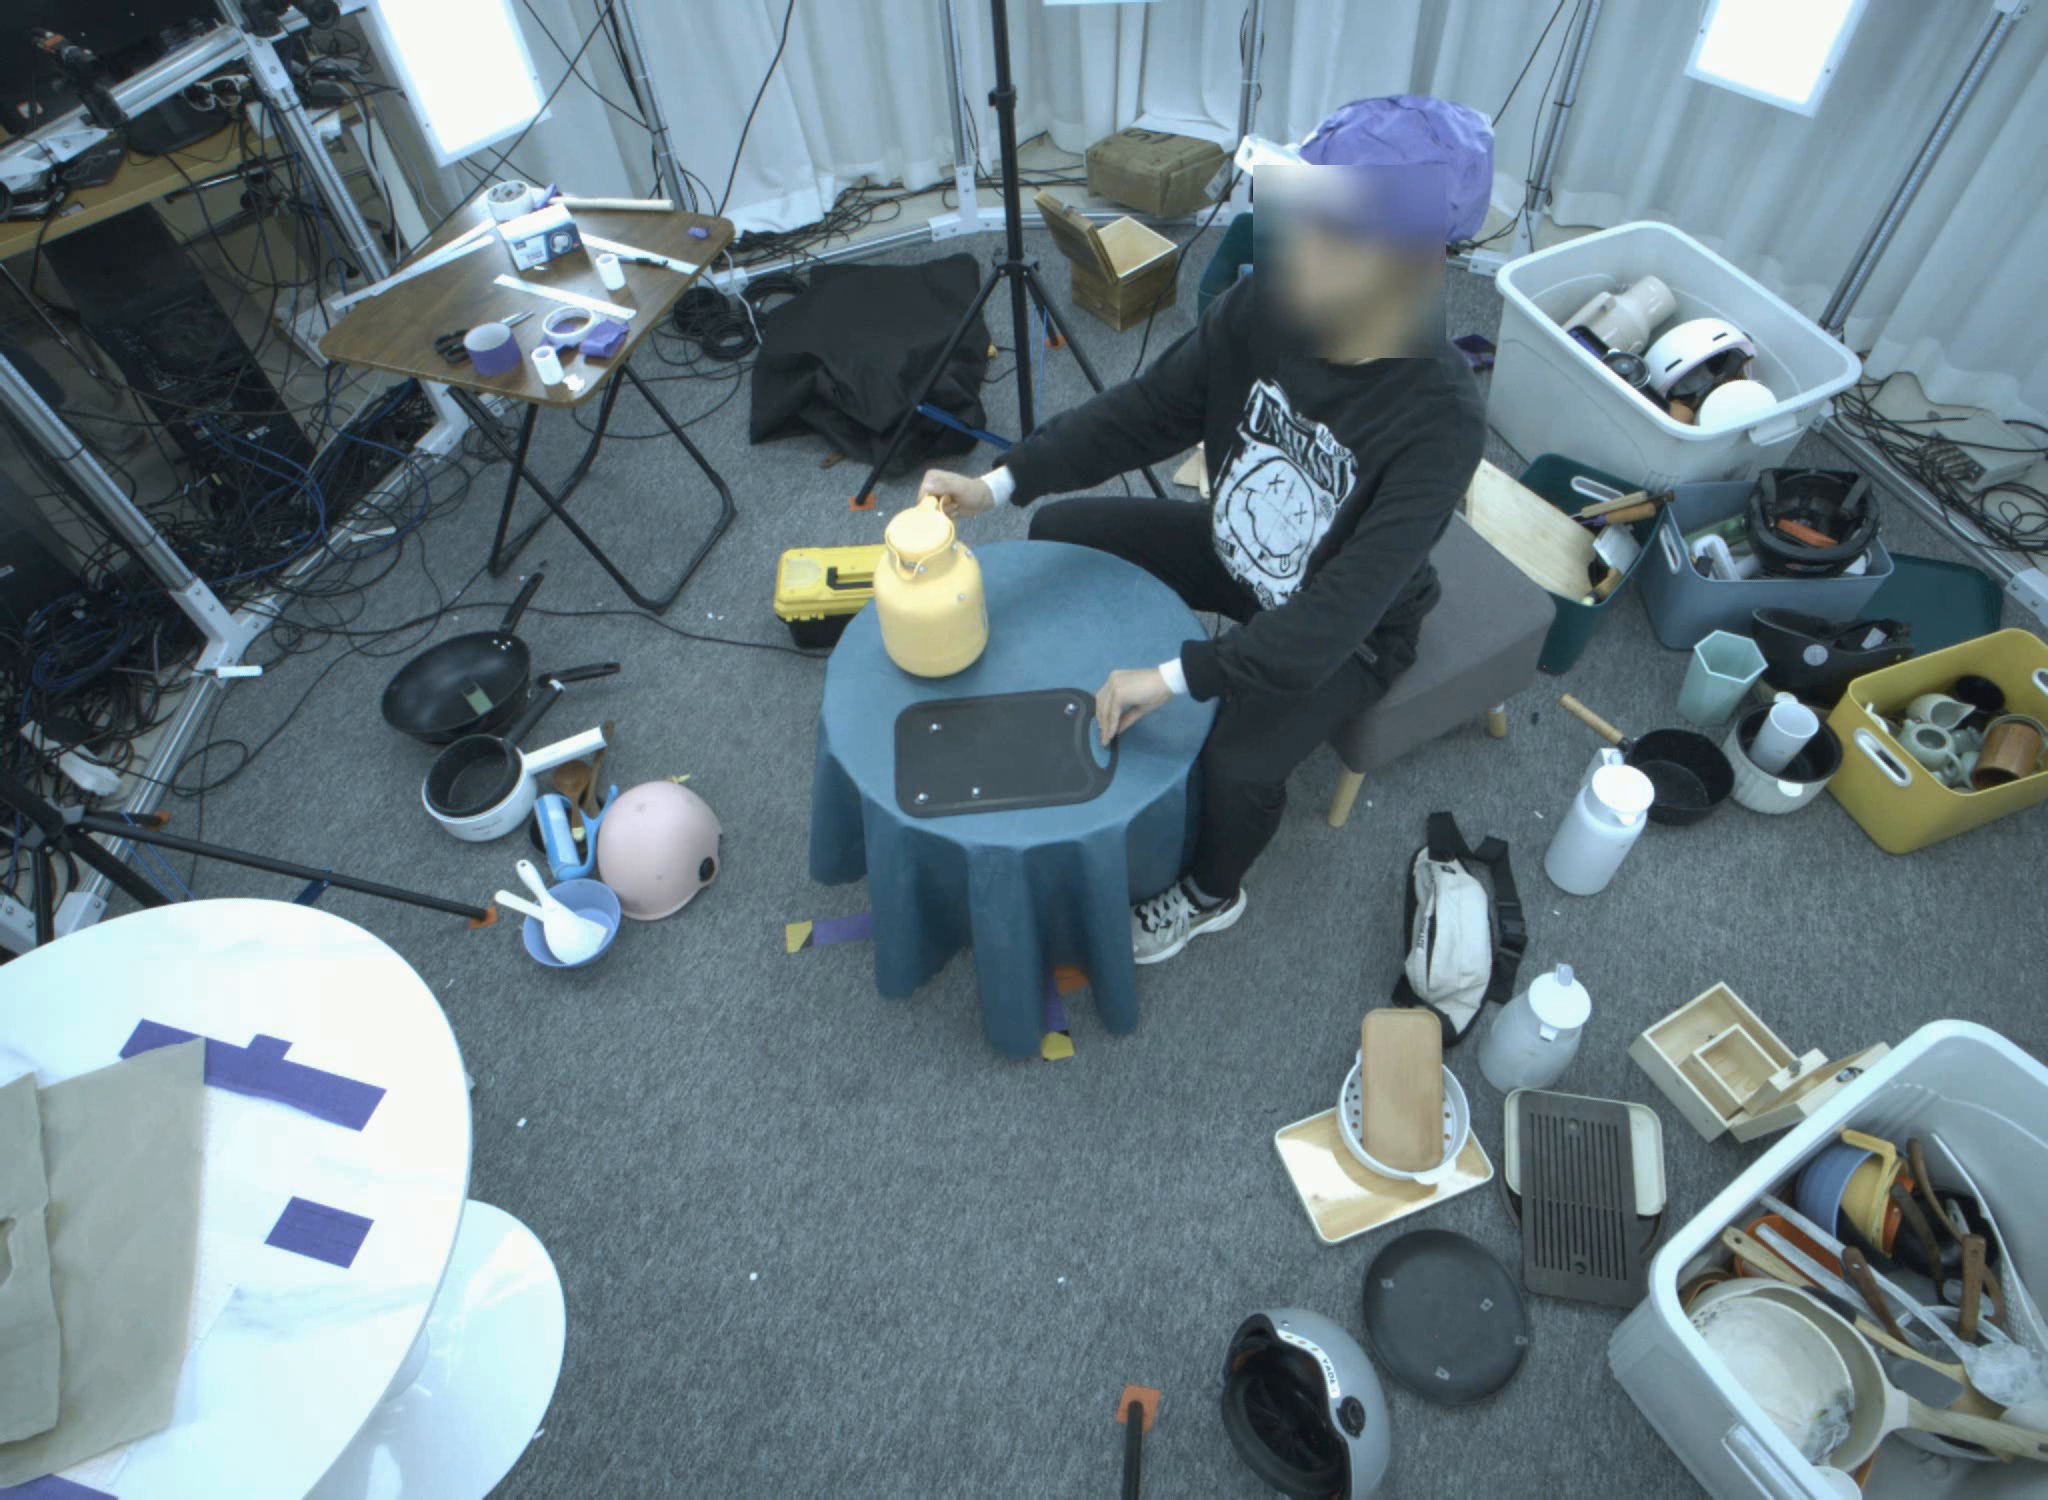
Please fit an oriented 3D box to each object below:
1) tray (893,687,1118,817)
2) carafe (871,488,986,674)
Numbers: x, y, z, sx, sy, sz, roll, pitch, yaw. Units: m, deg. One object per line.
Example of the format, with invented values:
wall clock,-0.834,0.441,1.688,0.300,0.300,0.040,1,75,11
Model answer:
tray,-0.028,-0.002,1.781,0.326,0.010,0.208,-5,55,-1
carafe,-0.136,-0.255,1.805,0.162,0.263,0.201,13,59,8
